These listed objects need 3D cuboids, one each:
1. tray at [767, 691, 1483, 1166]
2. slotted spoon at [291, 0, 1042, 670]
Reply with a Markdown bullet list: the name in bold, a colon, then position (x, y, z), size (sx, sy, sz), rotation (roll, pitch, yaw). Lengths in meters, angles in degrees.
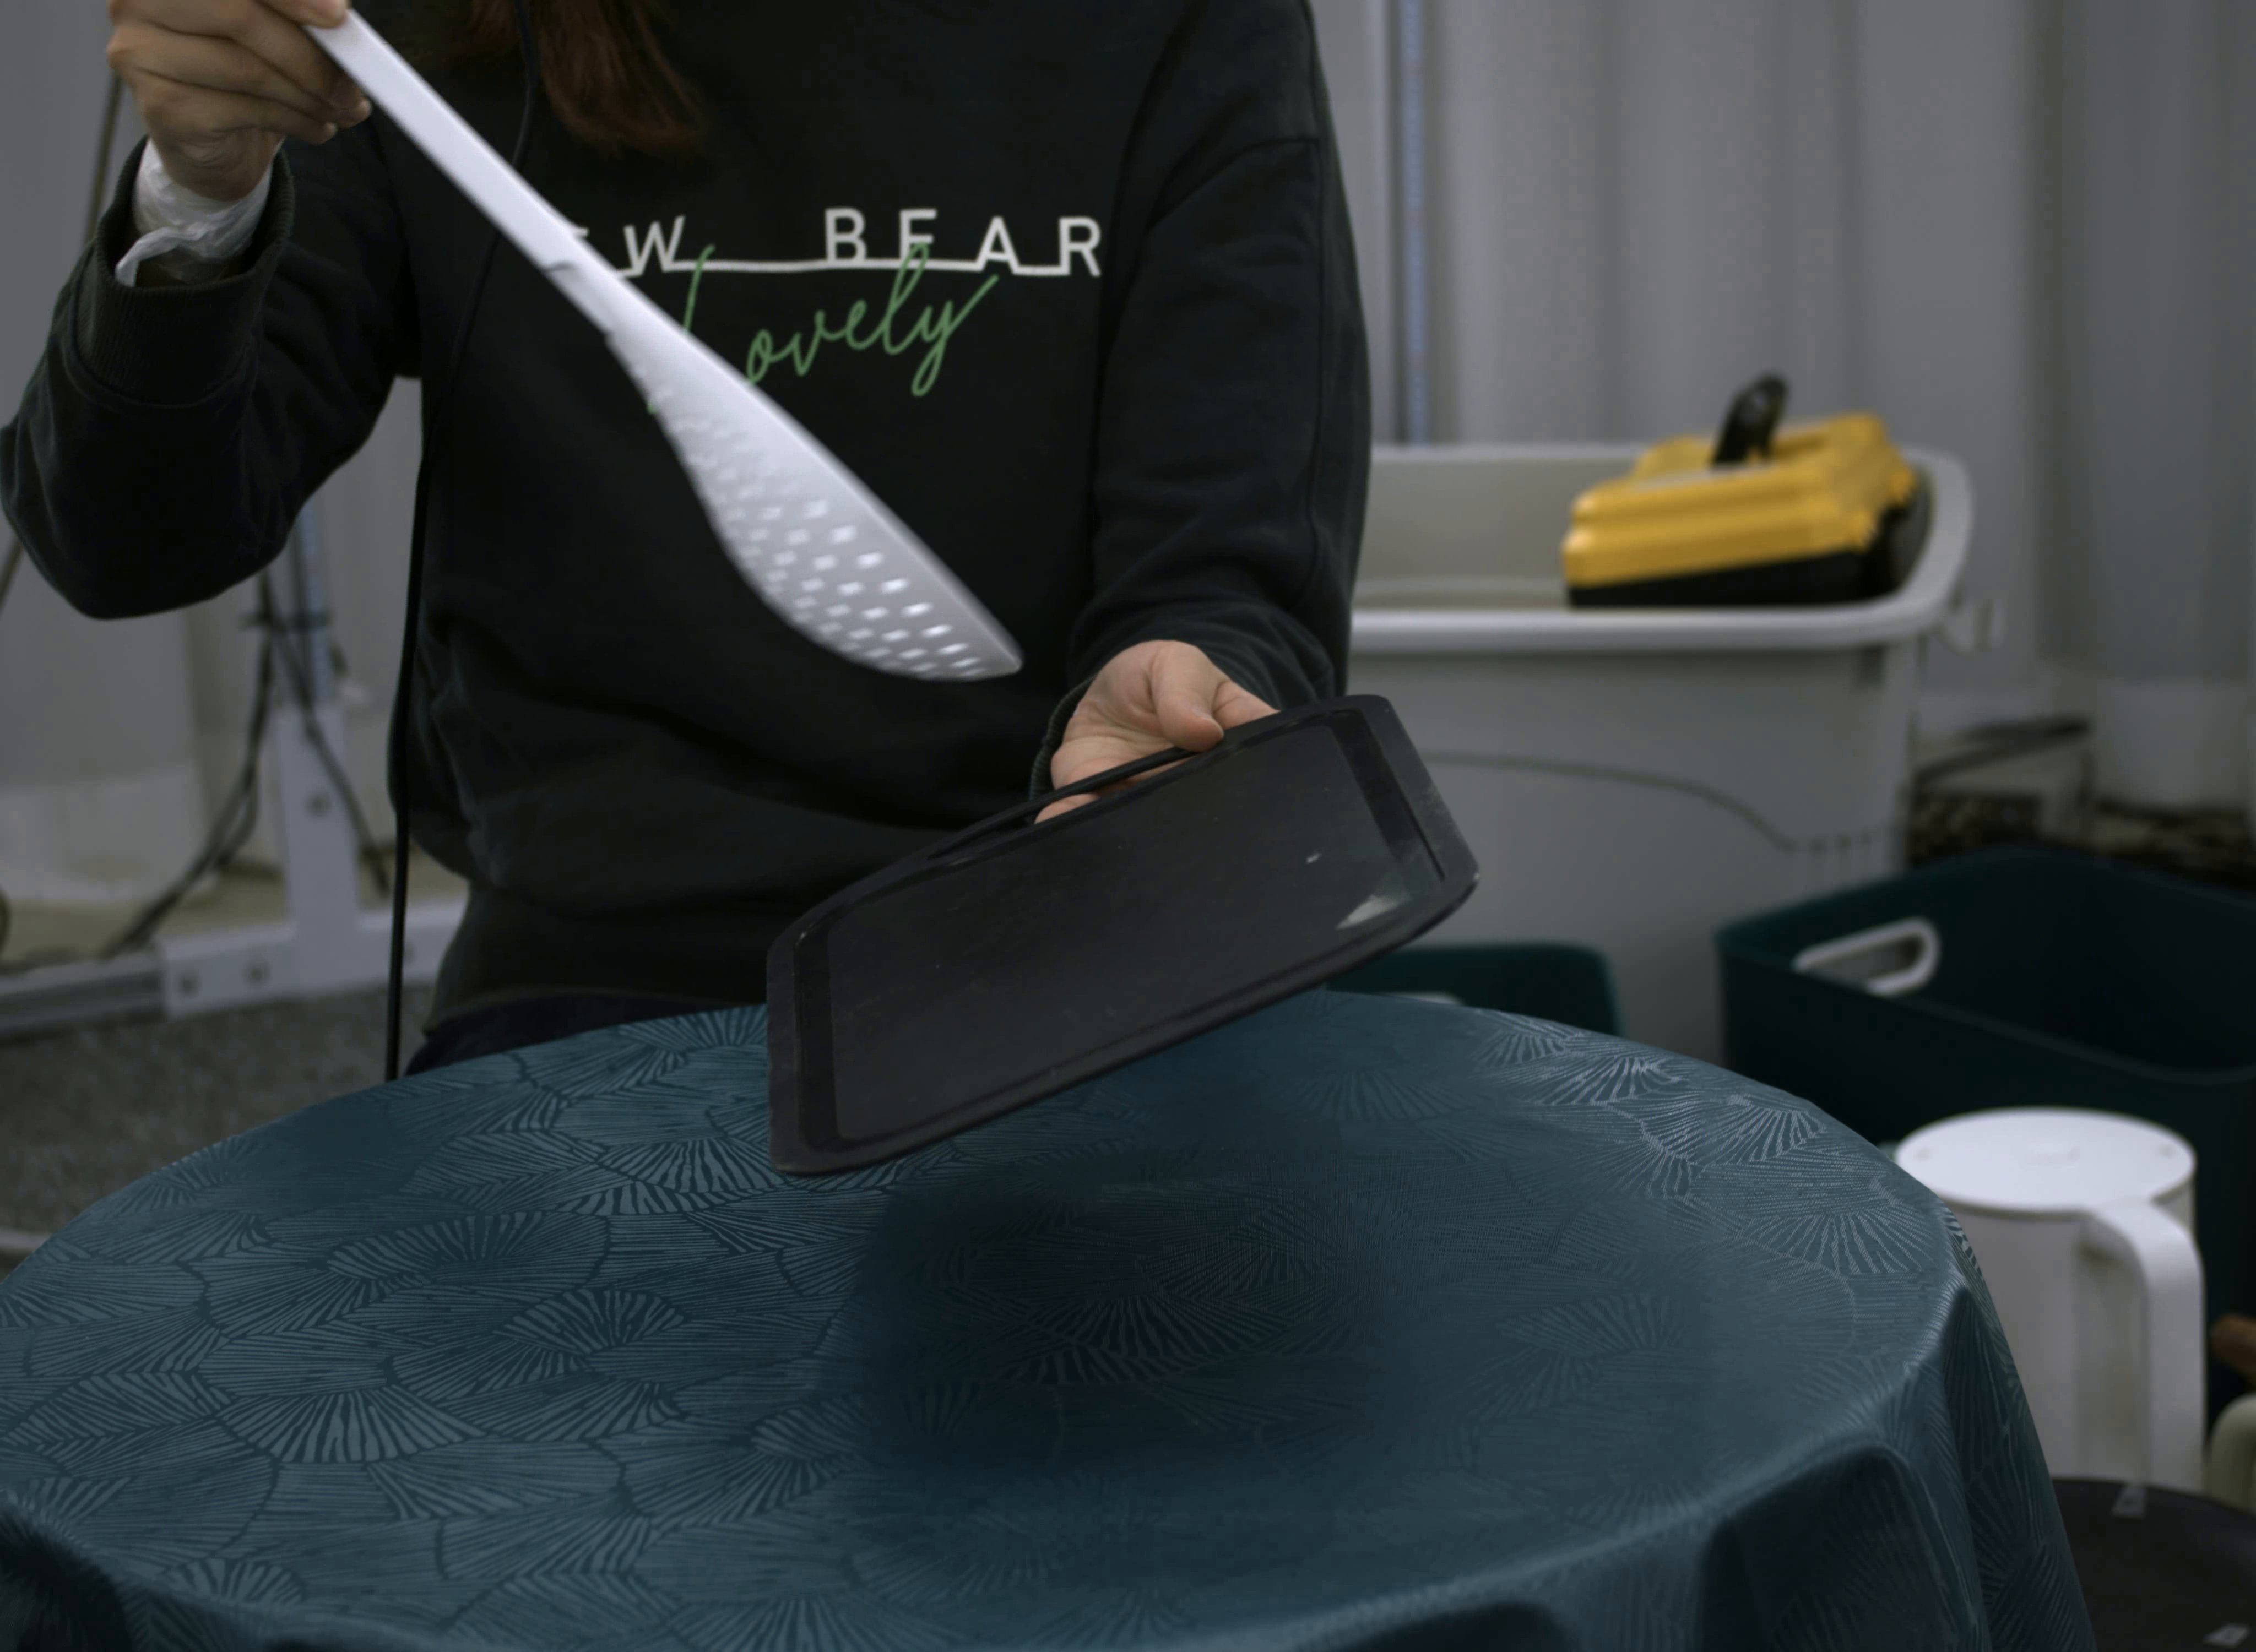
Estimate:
- **tray**: position (-0.009, 0.022, 1.601), size (0.210, 0.010, 0.327), rotation (-22, 14, 2)
- **slotted spoon**: position (-0.157, -0.169, 1.690), size (0.046, 0.351, 0.135), rotation (-40, -7, -5)
